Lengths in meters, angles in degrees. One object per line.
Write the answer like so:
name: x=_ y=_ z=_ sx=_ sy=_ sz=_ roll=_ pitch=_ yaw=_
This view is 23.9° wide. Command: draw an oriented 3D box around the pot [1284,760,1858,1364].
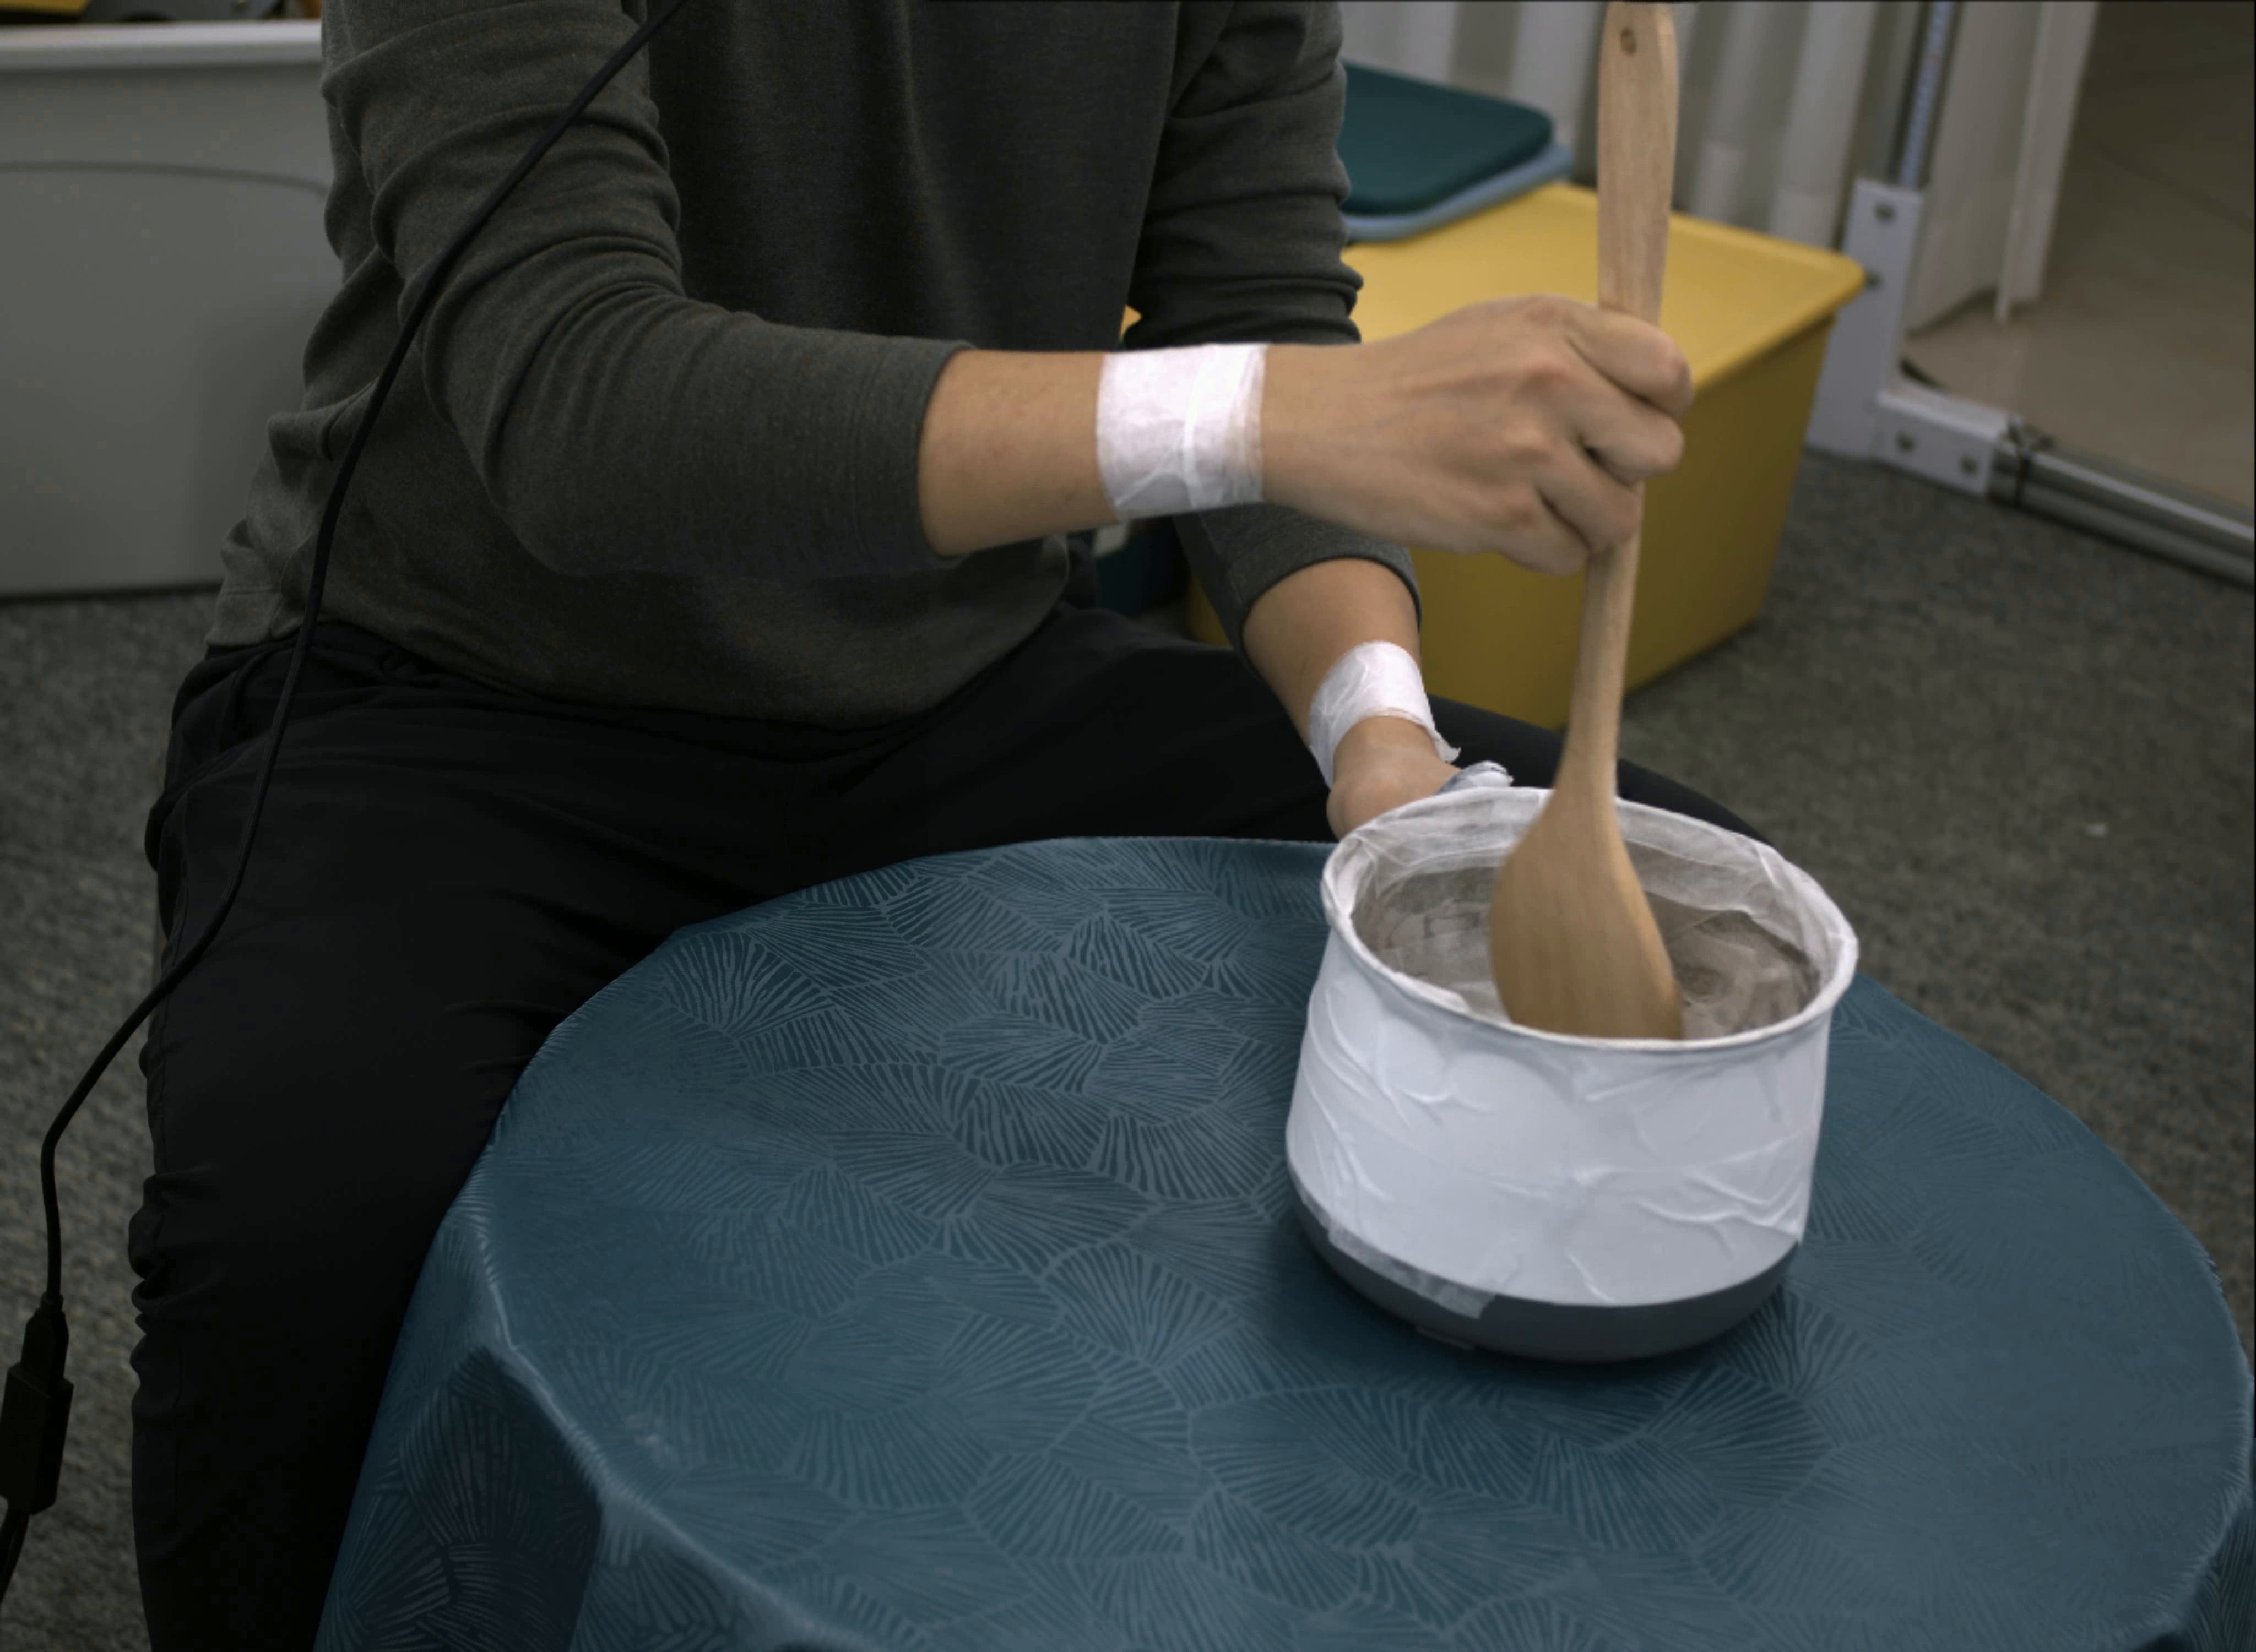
pot: x=0.135 y=0.072 z=1.788 sx=0.177 sy=0.136 sz=0.236 roll=-2 pitch=28 yaw=-18

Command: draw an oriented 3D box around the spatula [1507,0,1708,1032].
spatula: x=0.160 y=-0.082 z=1.706 sx=0.018 sy=0.389 sz=0.096 roll=-15 pitch=27 yaw=-34
